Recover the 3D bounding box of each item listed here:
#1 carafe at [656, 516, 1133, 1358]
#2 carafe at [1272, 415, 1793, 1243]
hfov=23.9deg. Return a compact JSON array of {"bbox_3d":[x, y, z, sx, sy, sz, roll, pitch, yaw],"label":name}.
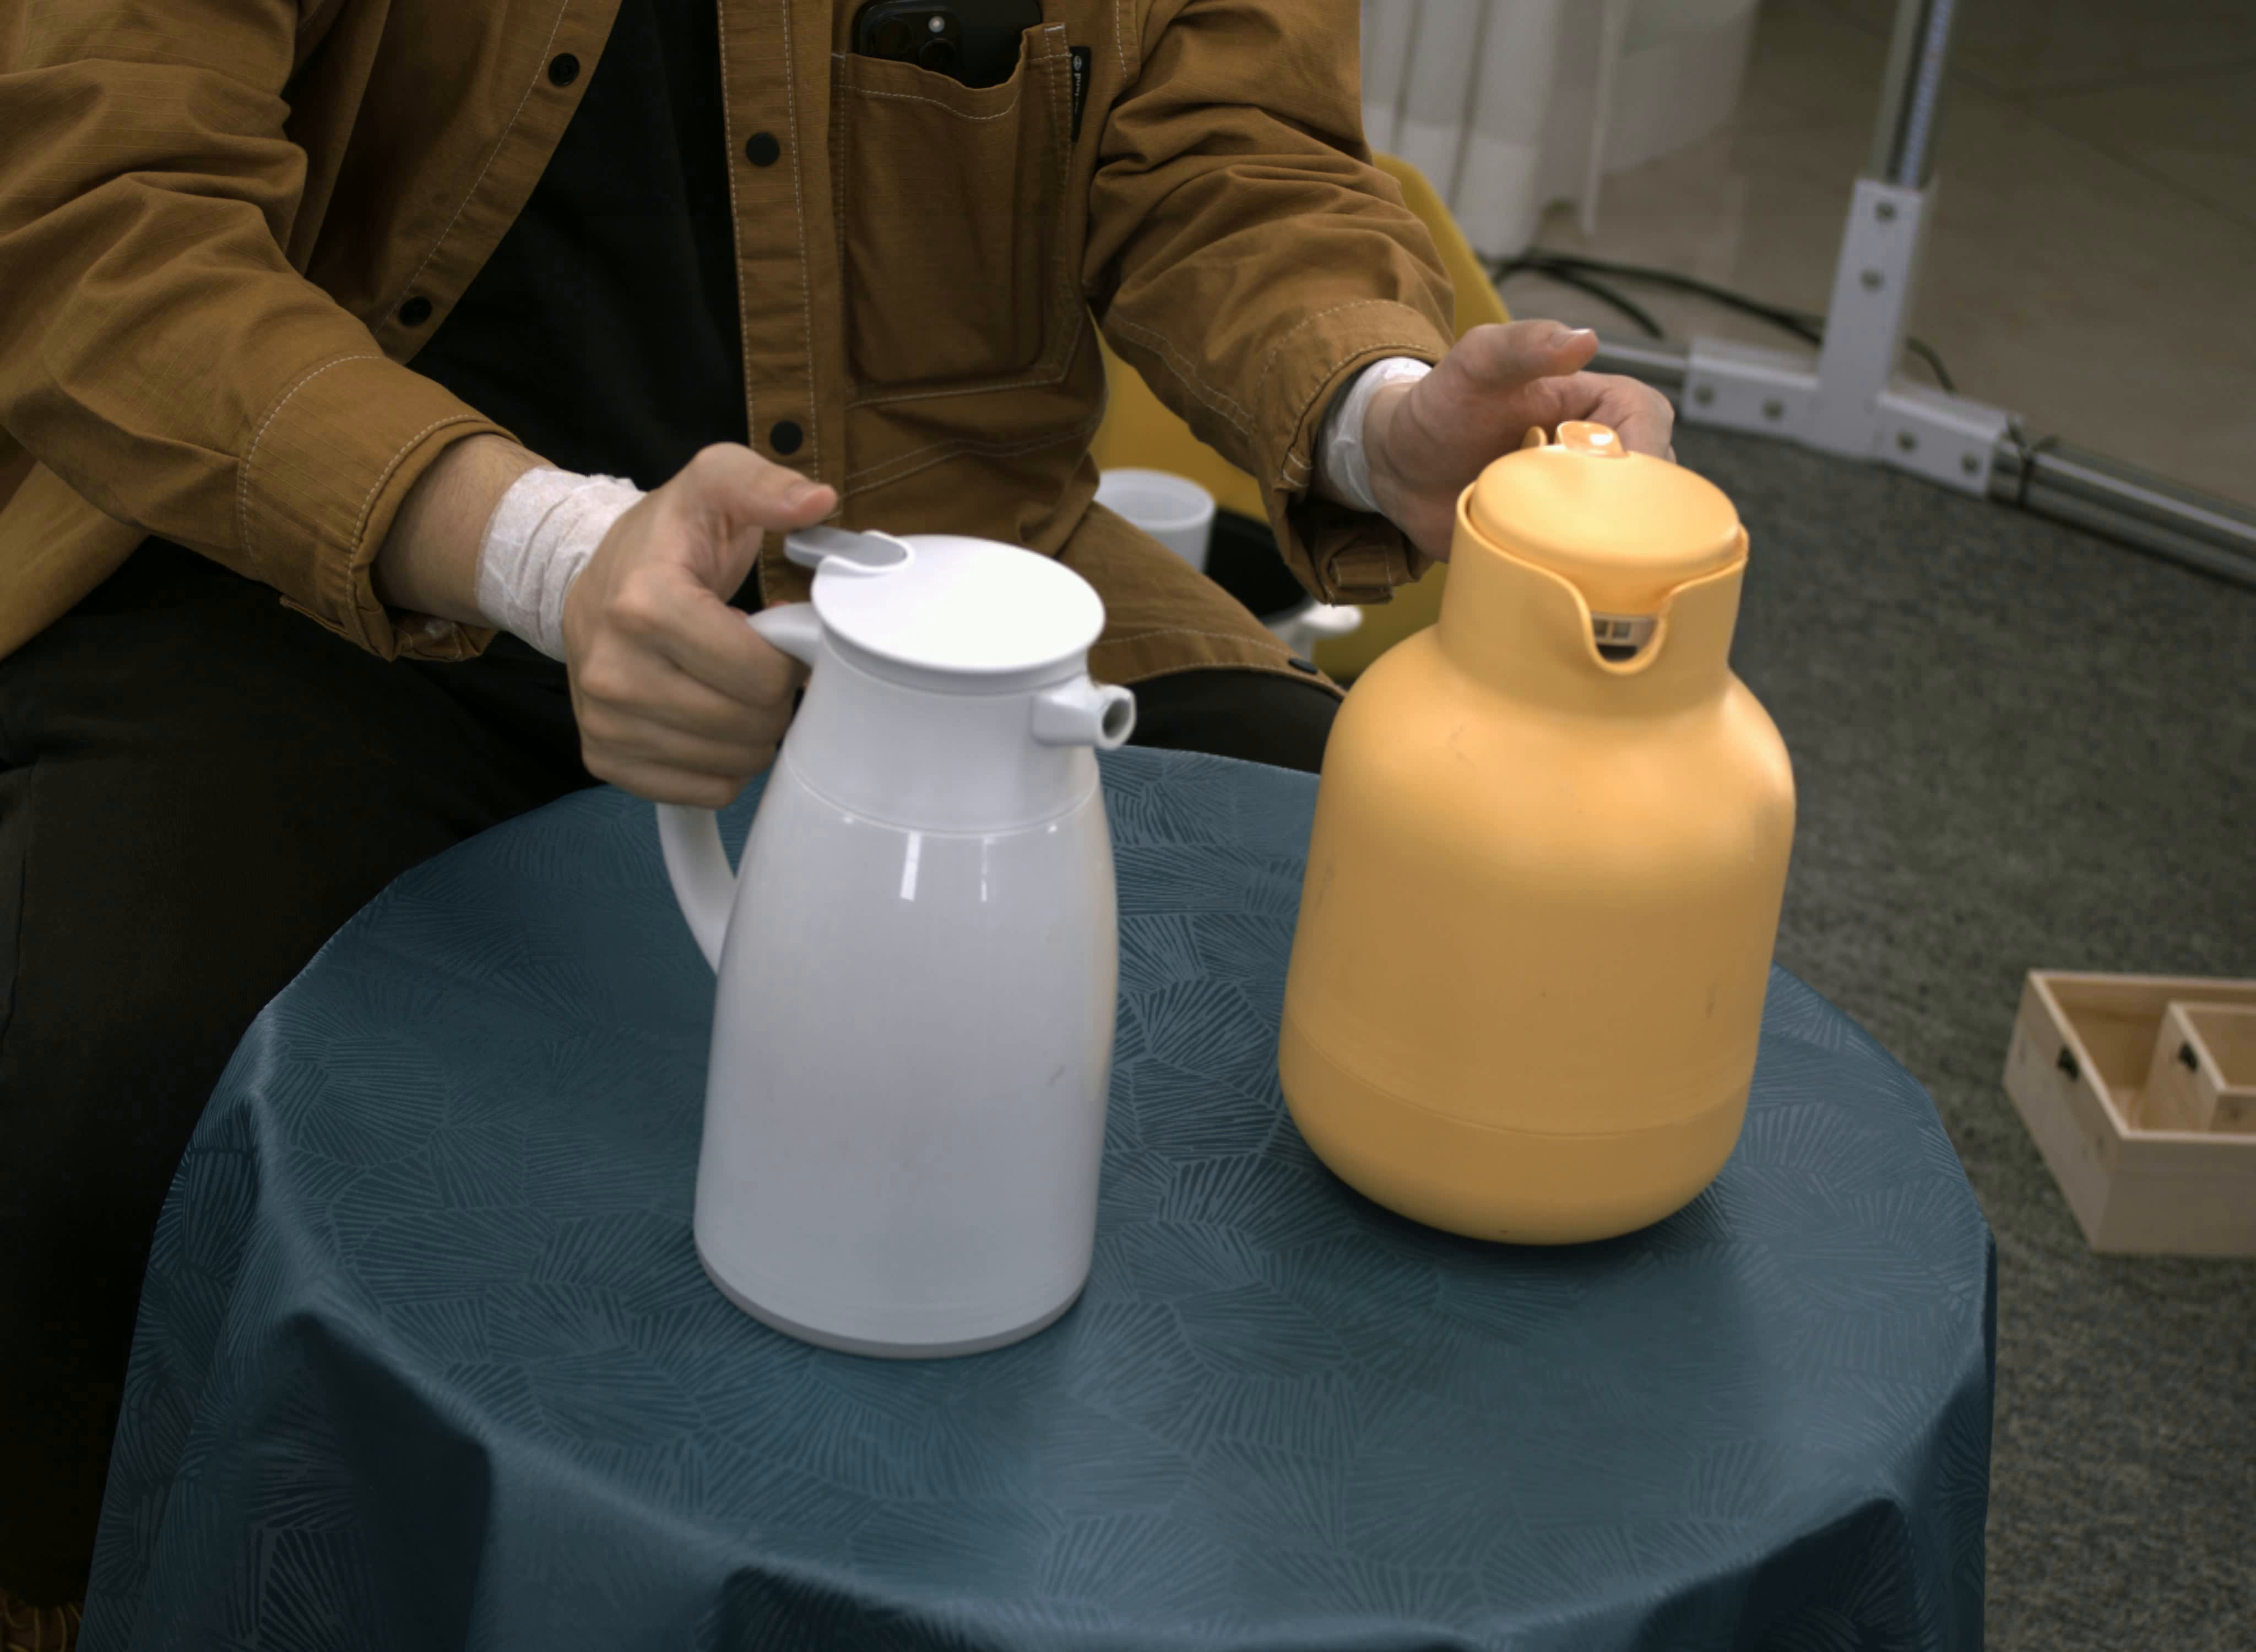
[{"bbox_3d":[-0.082,0.025,1.704,0.168,0.248,0.132,21,31,27],"label":"carafe"},{"bbox_3d":[0.143,-0.008,1.809,0.163,0.259,0.203,7,28,-4],"label":"carafe"}]
